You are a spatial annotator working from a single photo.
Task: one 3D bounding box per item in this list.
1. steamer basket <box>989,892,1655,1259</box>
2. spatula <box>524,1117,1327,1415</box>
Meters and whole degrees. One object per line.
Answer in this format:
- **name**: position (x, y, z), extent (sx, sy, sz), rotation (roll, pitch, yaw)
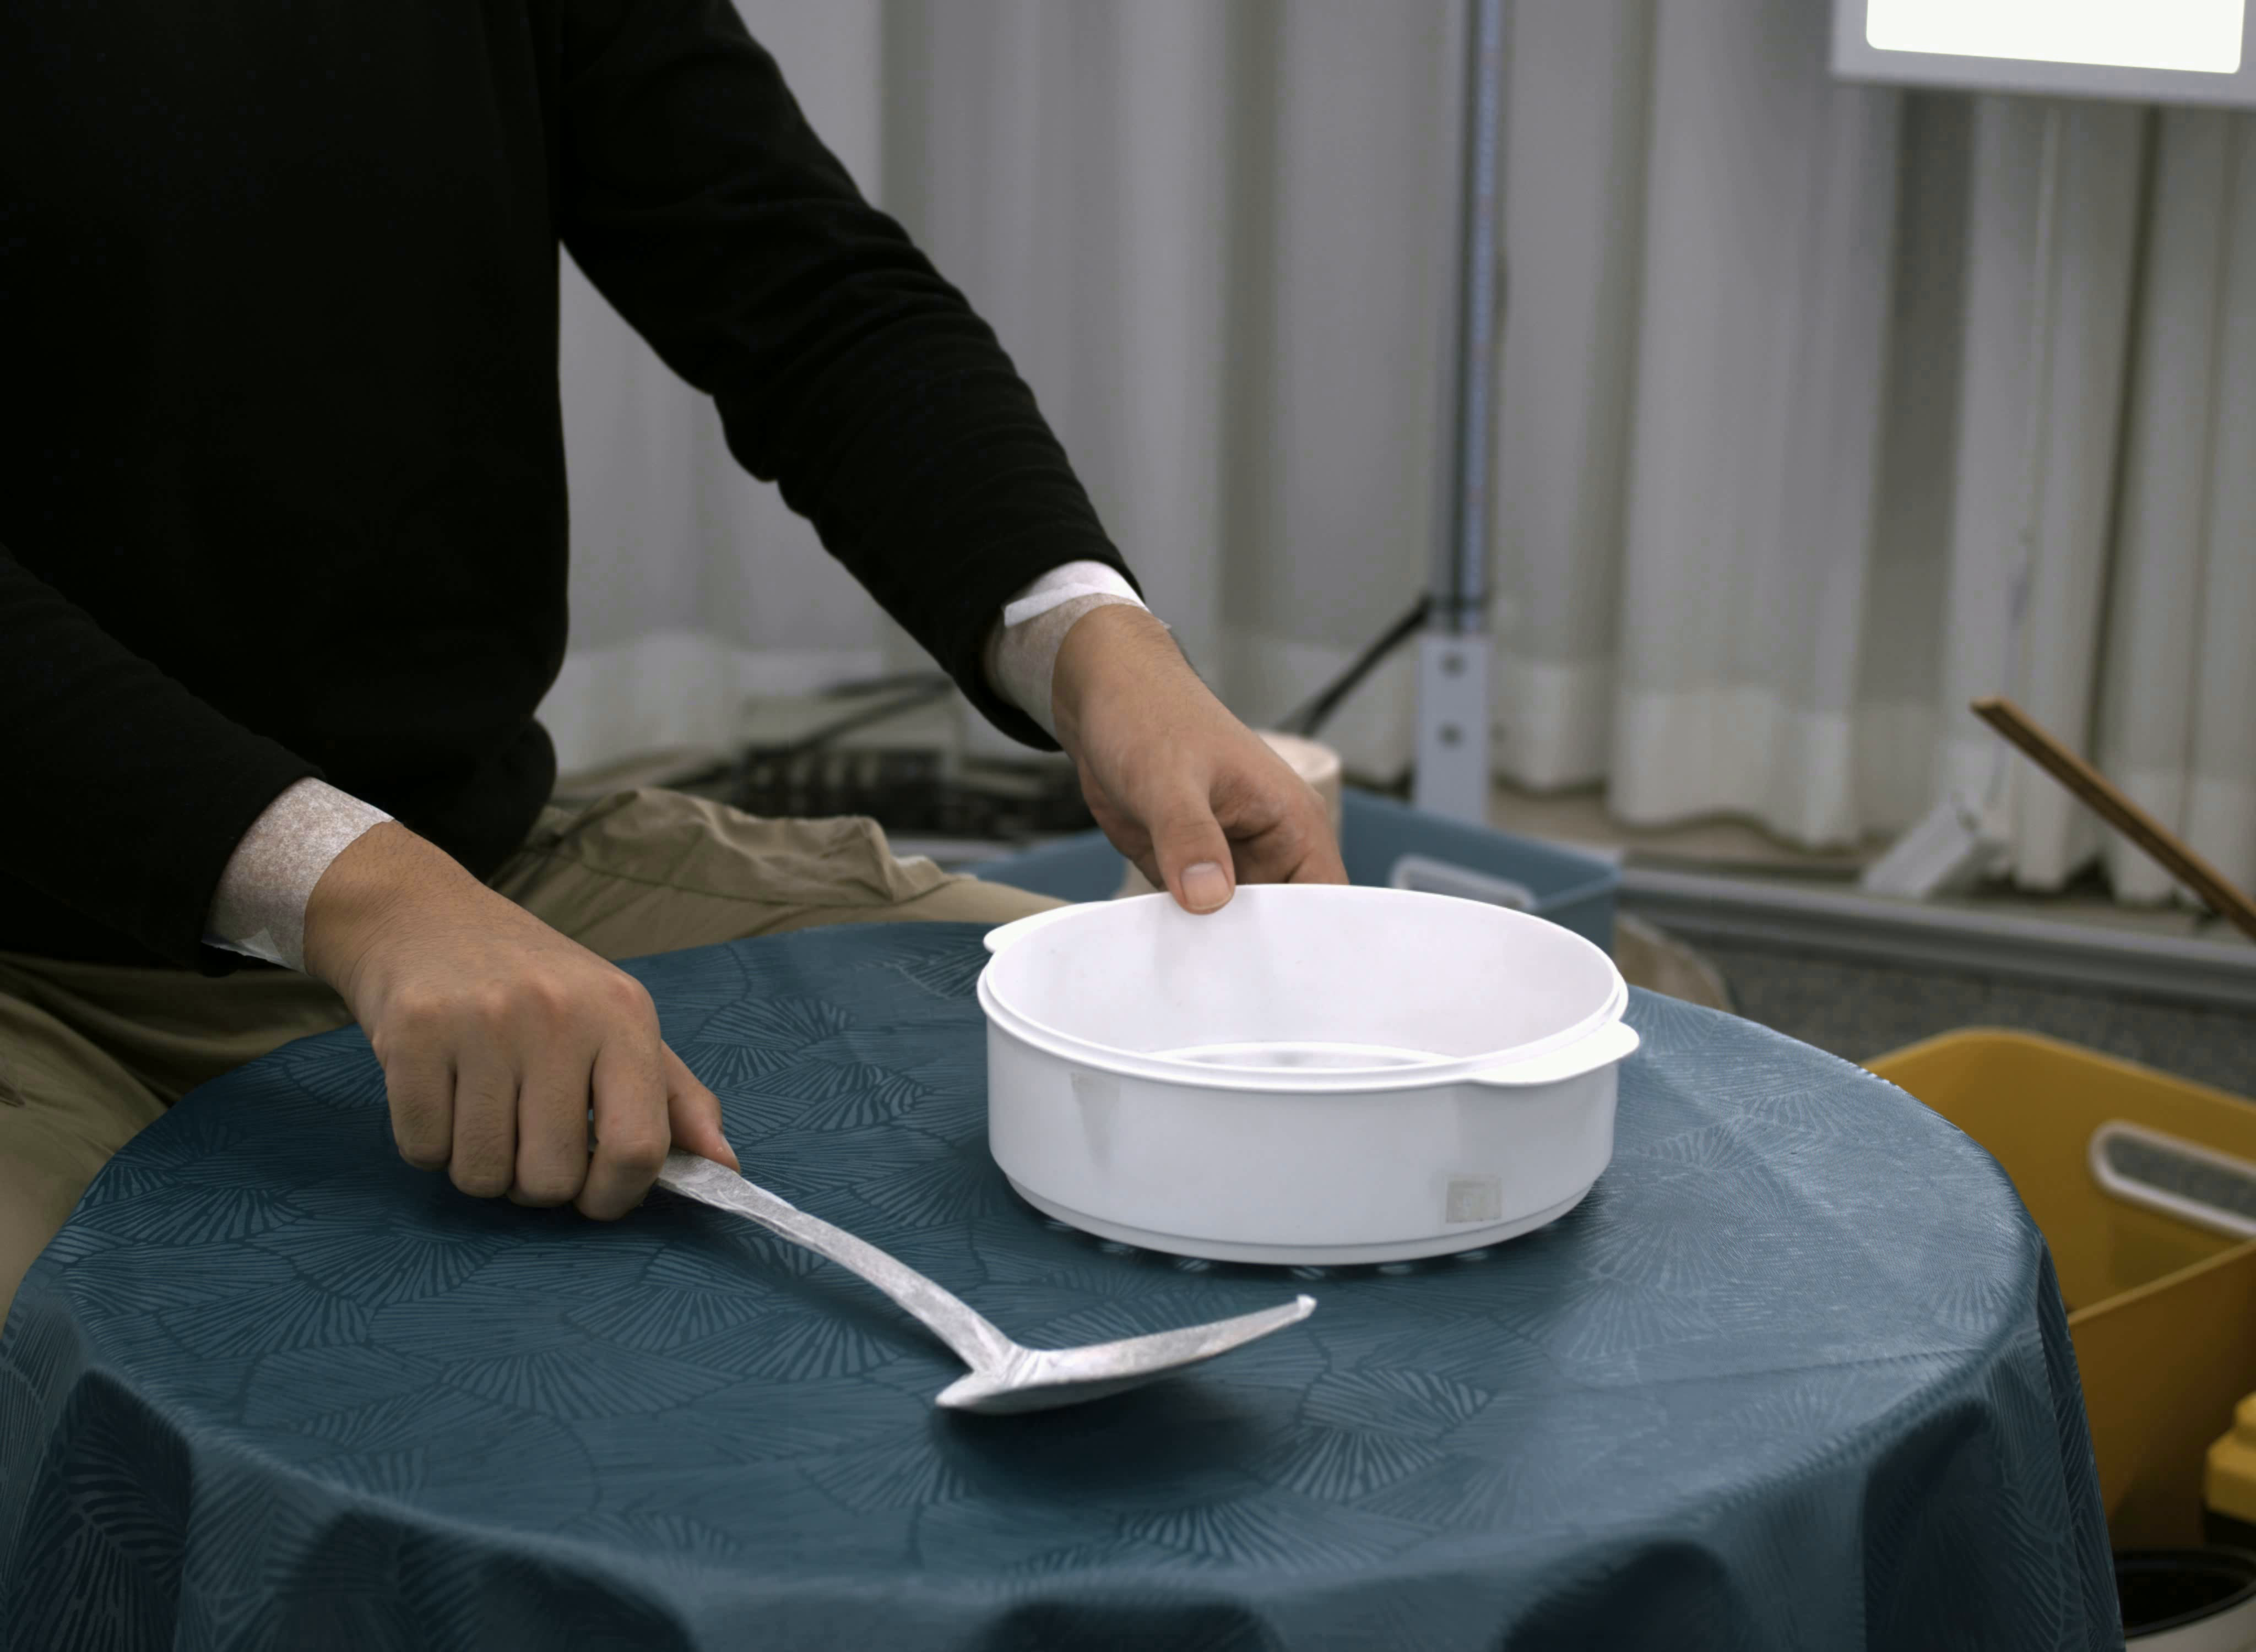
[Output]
- **steamer basket**: position (0.057, 0.076, 1.621), extent (0.227, 0.070, 0.203), rotation (13, 19, 40)
- **spatula**: position (-0.084, 0.117, 1.529), extent (0.099, 0.045, 0.360), rotation (-15, 21, -36)
